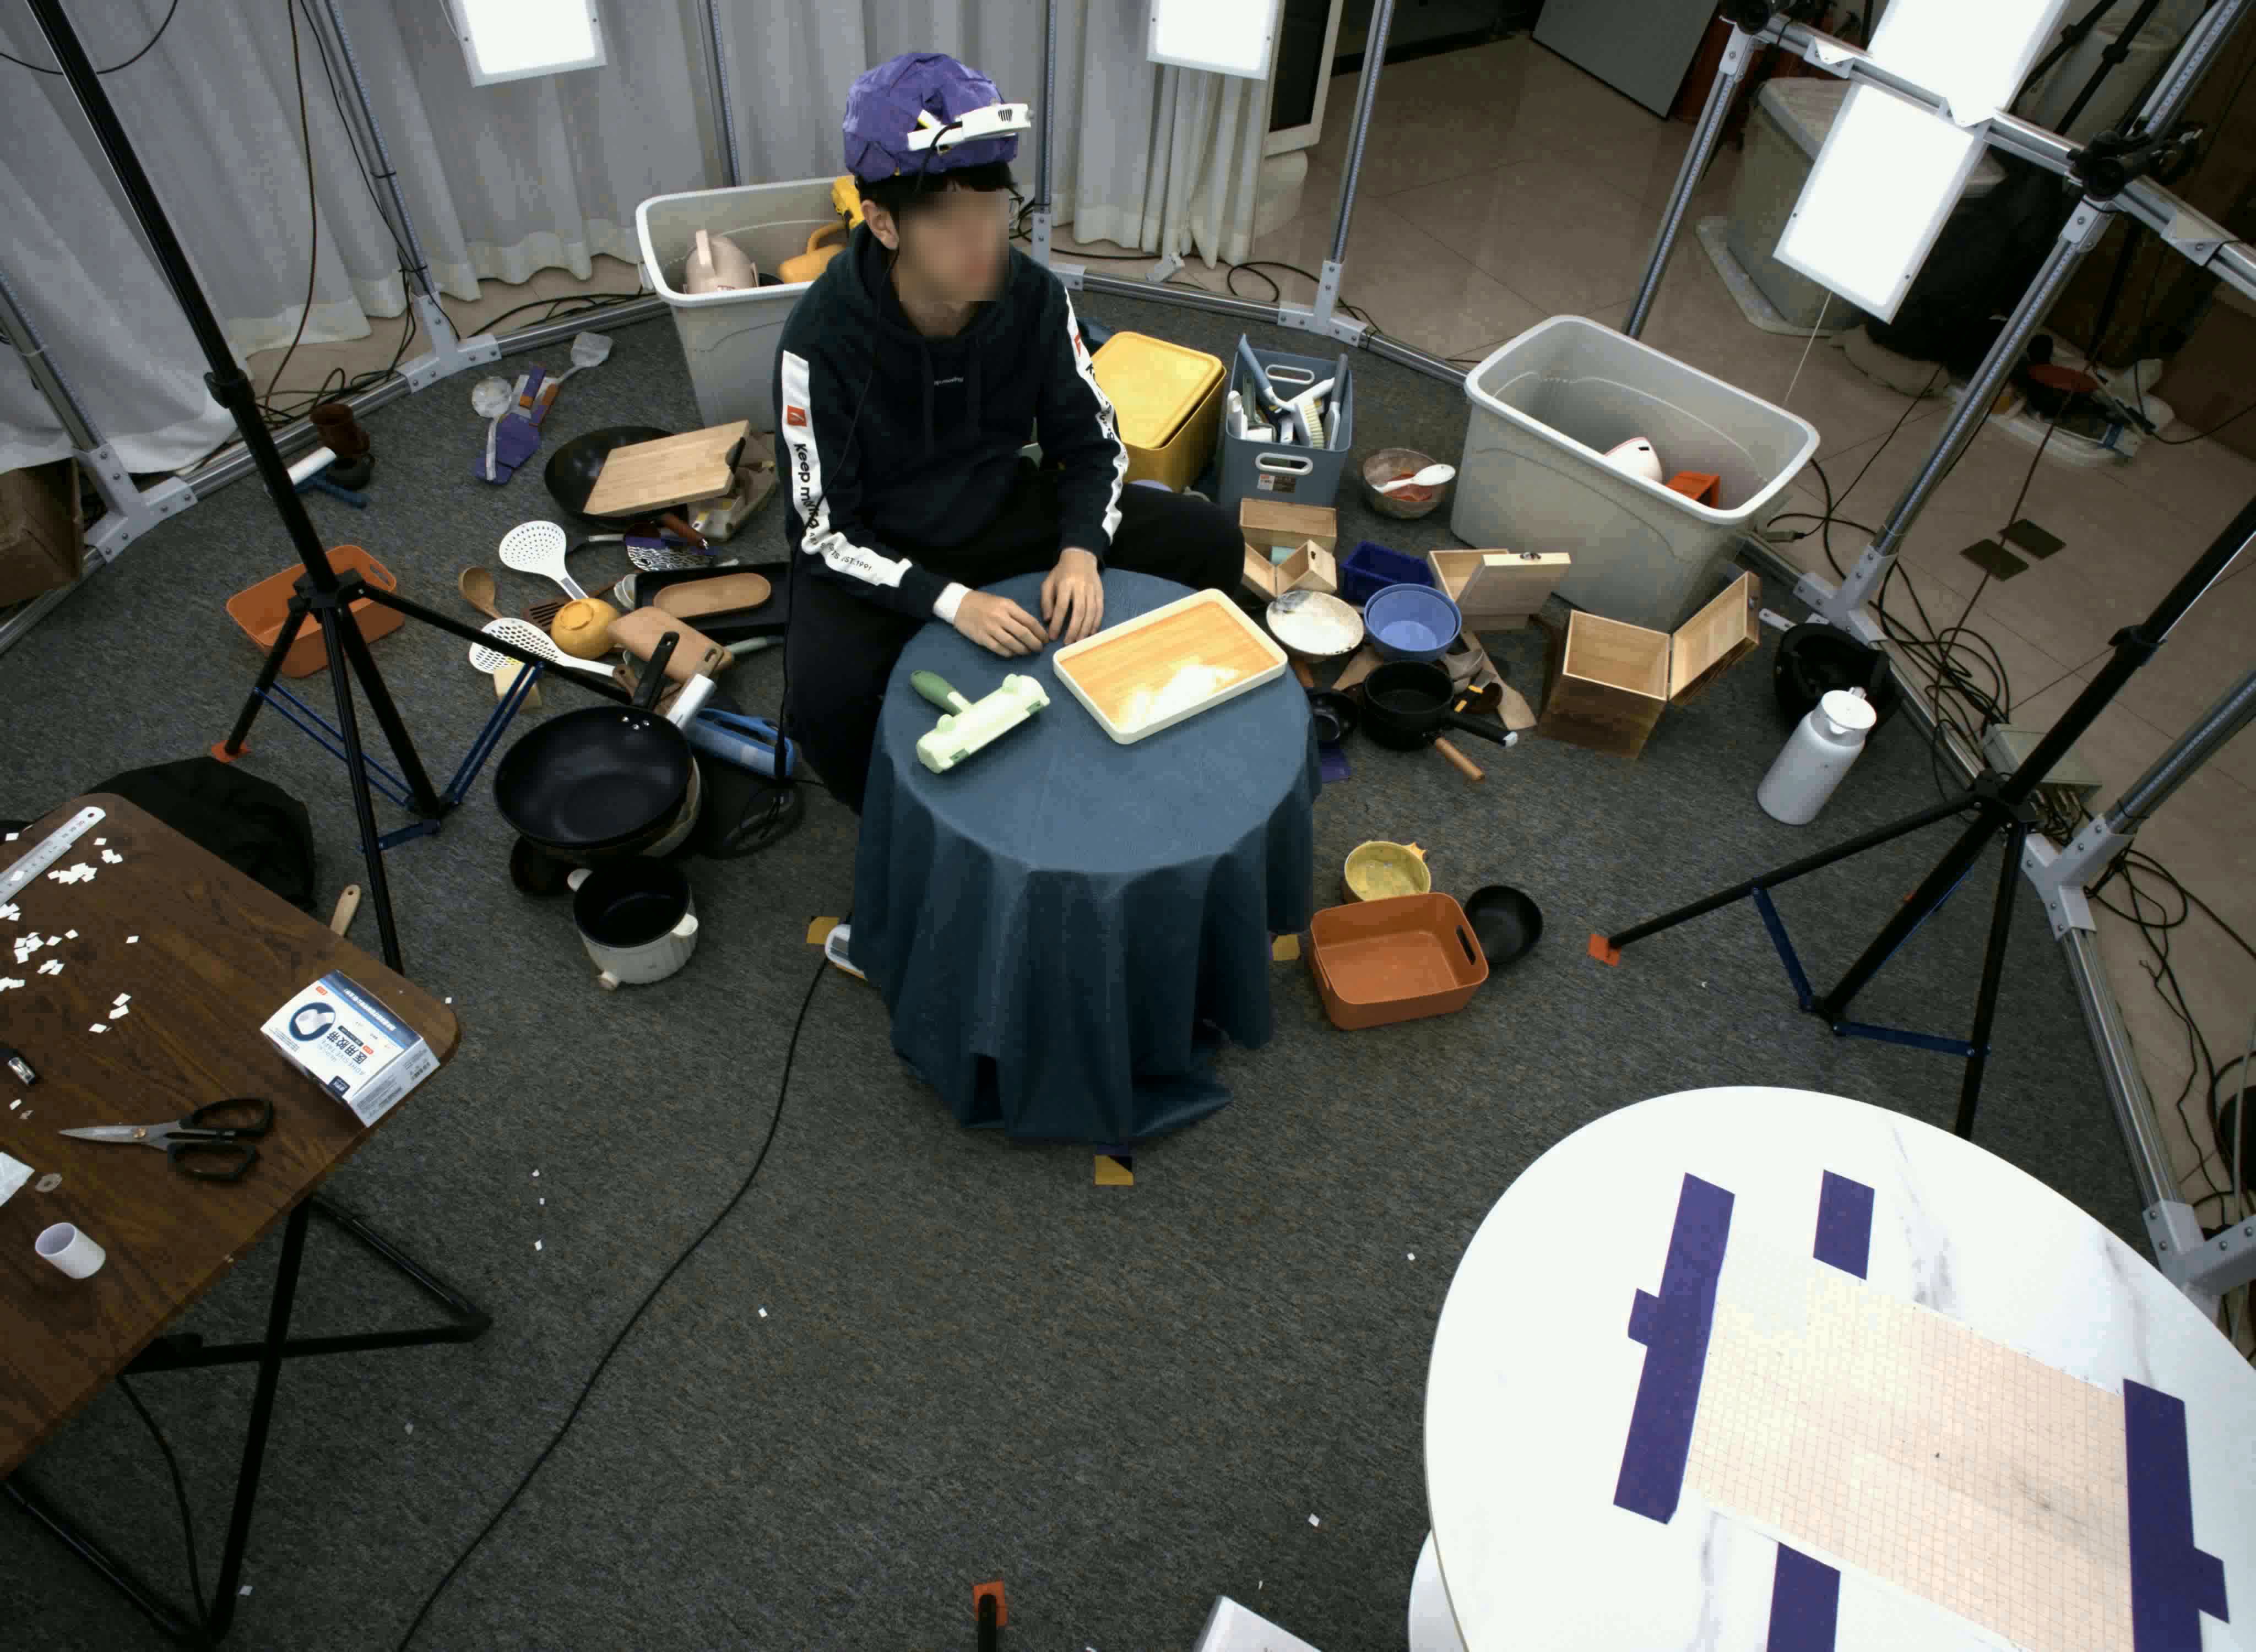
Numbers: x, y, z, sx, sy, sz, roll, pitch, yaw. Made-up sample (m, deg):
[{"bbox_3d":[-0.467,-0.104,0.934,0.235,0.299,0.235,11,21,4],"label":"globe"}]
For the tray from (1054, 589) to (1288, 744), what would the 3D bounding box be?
[{"bbox_3d":[0.062,-0.236,1.860,0.301,0.027,0.195,-25,55,-23],"label":"tray"}]

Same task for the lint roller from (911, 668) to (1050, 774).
[{"bbox_3d":[-0.236,-0.178,1.759,0.200,0.080,0.186,-36,65,-29],"label":"lint roller"}]
